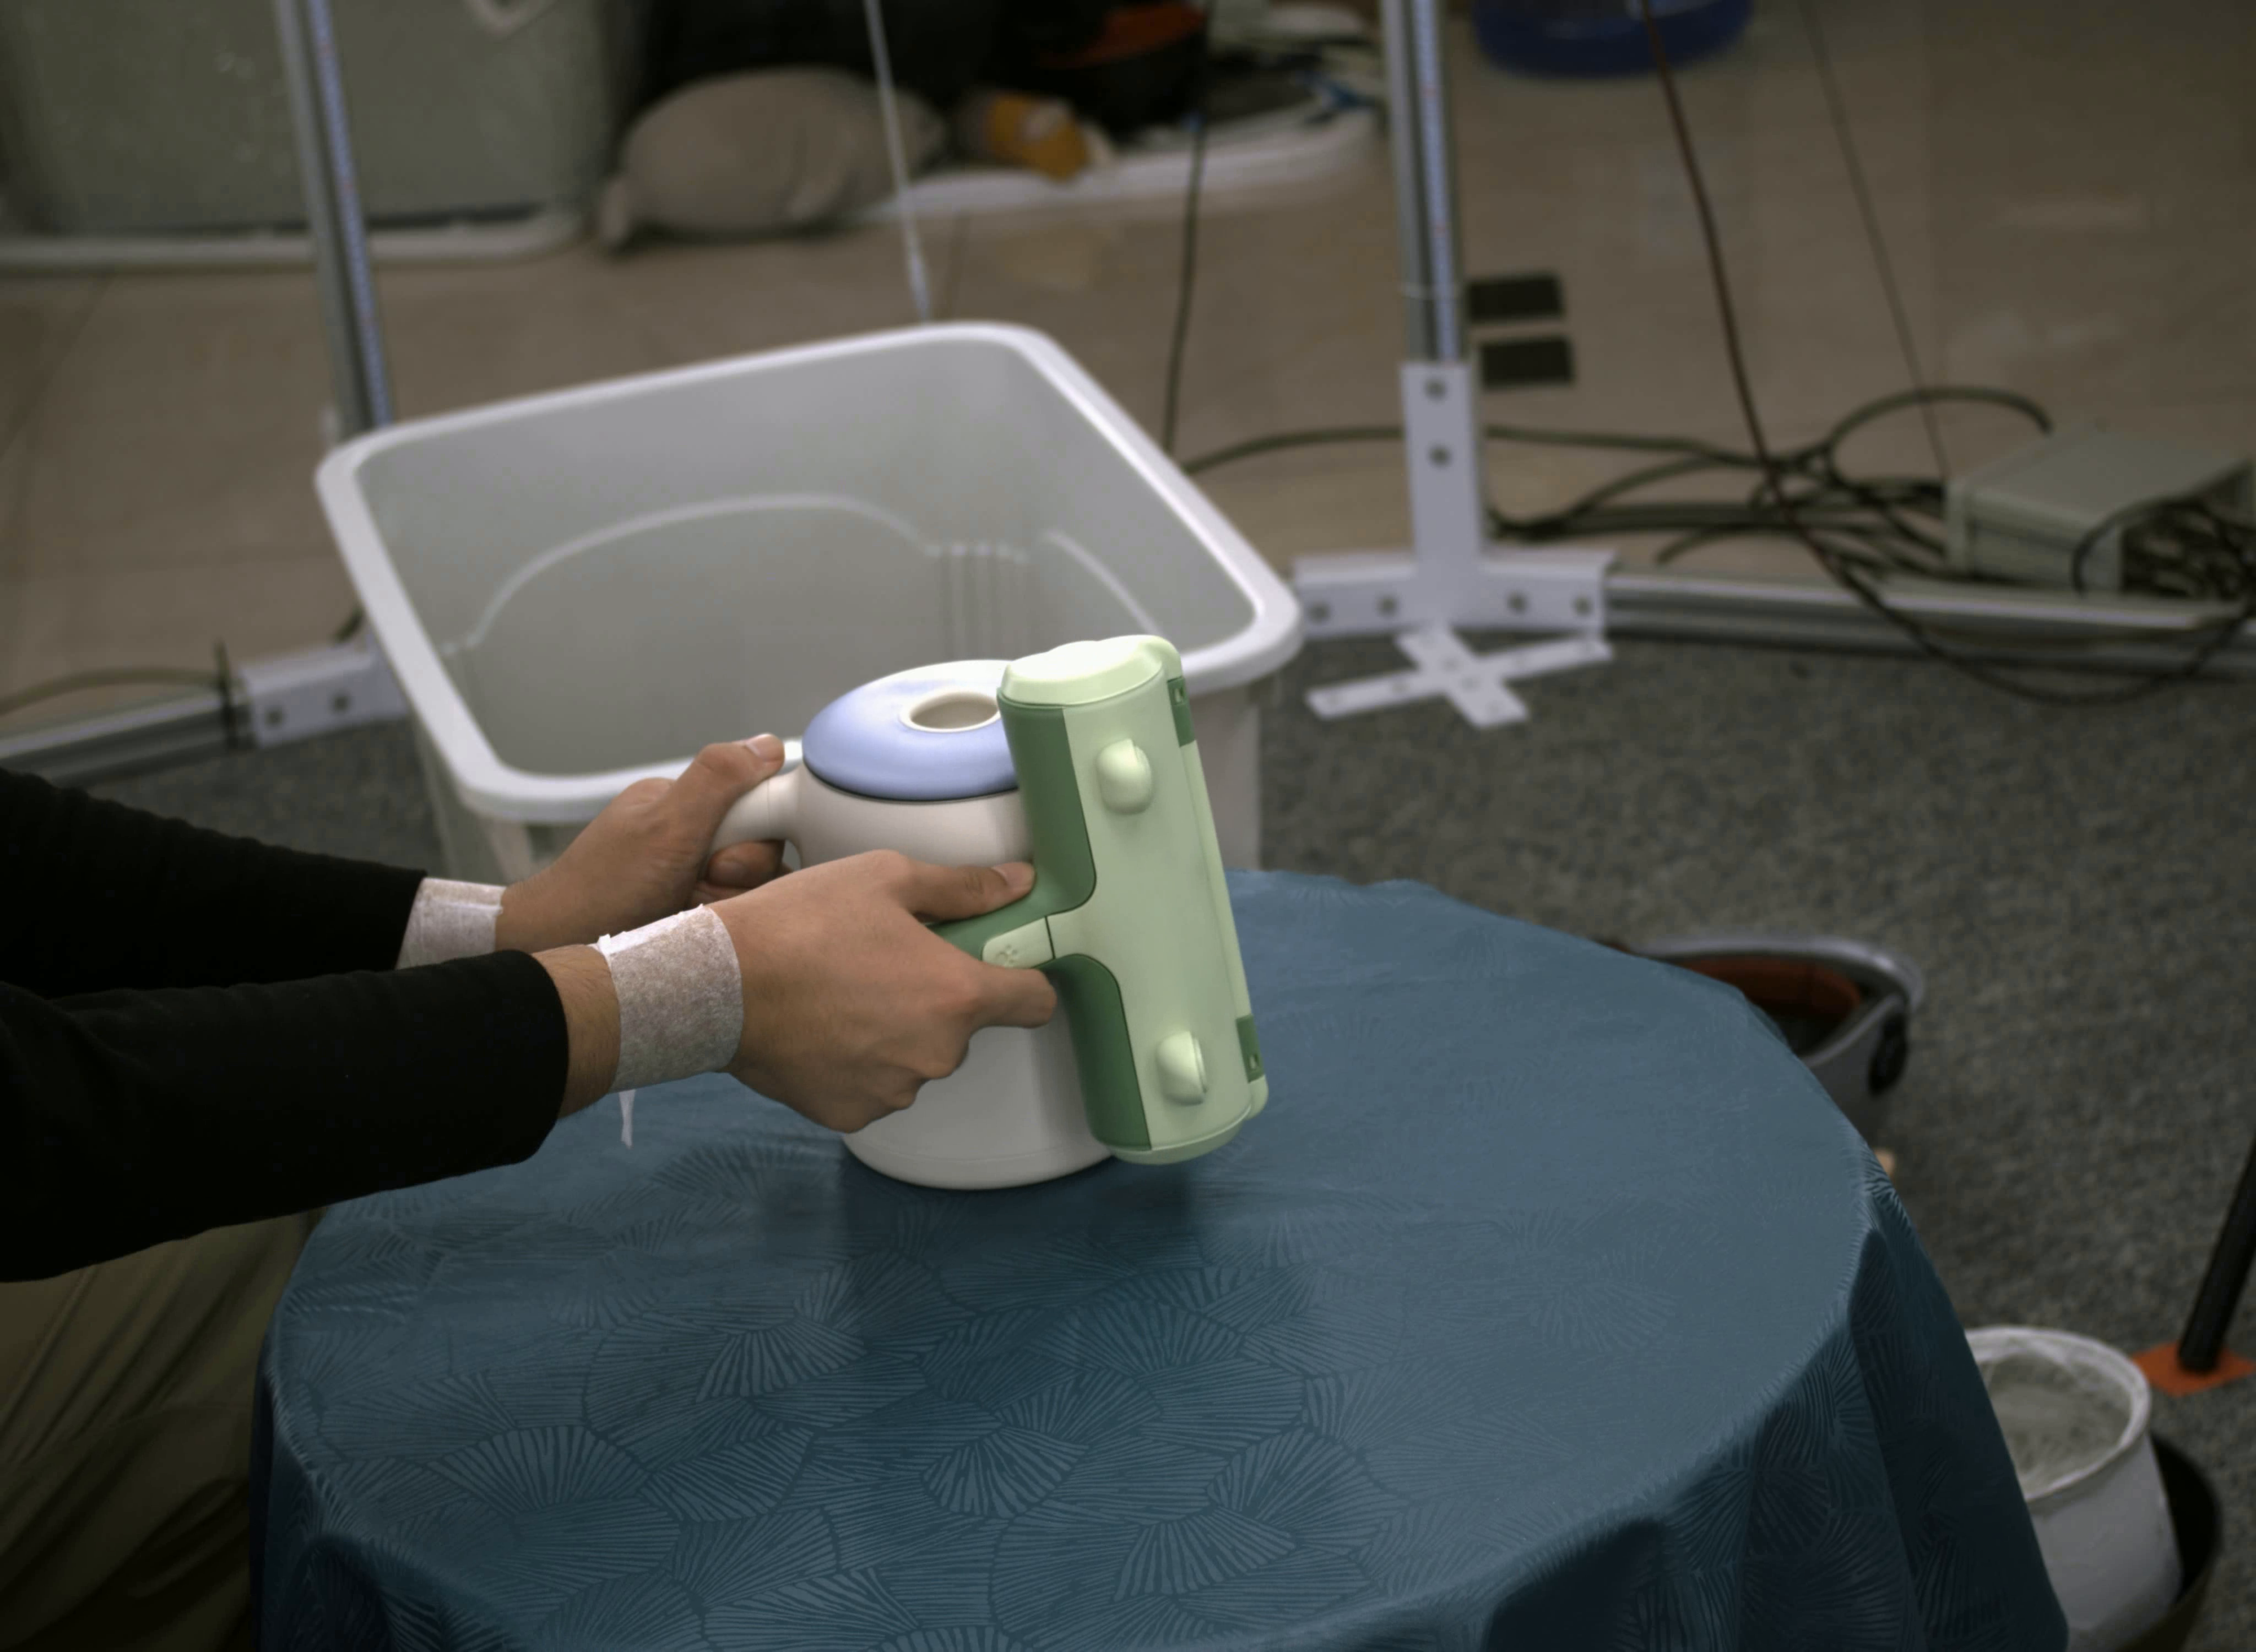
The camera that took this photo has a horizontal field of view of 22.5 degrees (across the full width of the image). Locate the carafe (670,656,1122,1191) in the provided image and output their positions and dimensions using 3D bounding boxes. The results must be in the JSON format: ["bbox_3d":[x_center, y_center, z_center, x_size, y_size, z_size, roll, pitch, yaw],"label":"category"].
[{"bbox_3d":[-0.081,0.040,2.174,0.191,0.185,0.130,-8,25,2],"label":"carafe"}]

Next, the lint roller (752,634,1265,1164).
[{"bbox_3d":[-0.043,0.047,2.063,0.182,0.201,0.081,-22,24,-25],"label":"lint roller"}]
